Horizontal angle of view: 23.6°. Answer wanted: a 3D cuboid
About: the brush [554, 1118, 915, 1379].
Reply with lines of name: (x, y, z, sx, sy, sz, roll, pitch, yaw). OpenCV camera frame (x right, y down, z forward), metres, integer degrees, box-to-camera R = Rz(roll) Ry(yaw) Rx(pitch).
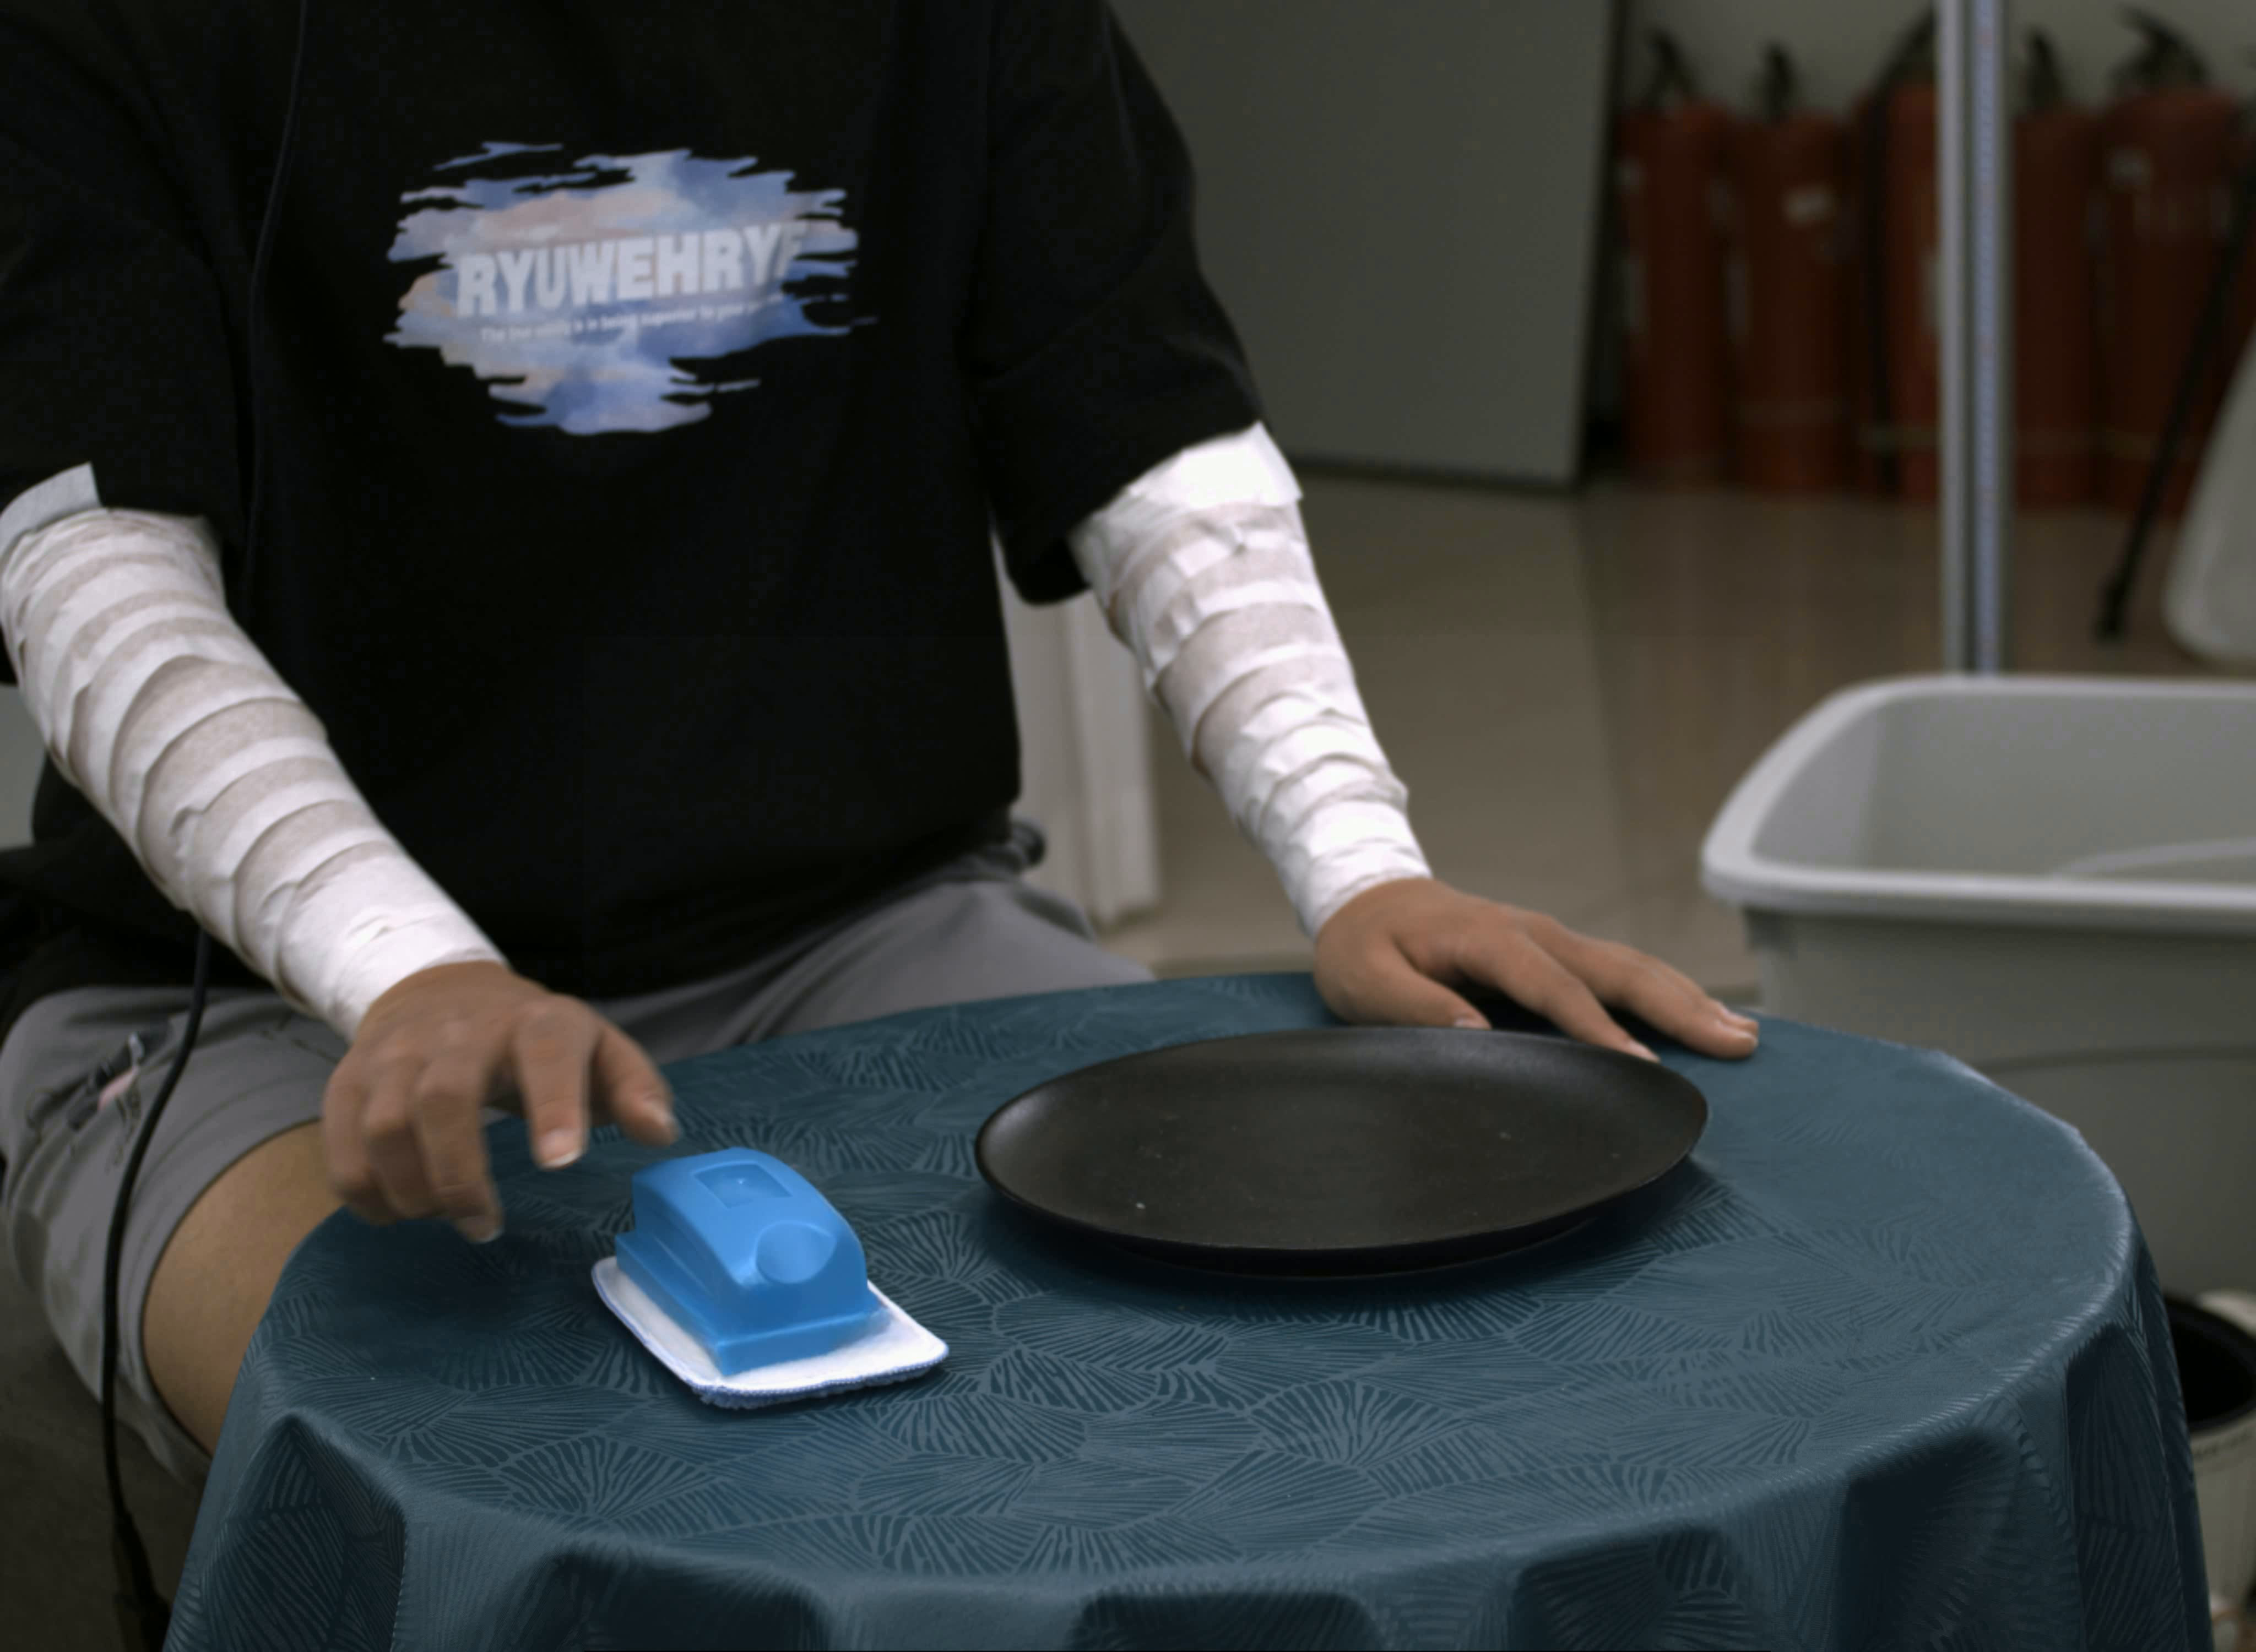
brush: (-0.120, 0.126, 1.652, 0.082, 0.056, 0.145, -4, 16, -21)

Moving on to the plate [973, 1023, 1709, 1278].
plate: (0.069, 0.108, 1.756, 0.241, 0.024, 0.245, -4, 14, 0)
